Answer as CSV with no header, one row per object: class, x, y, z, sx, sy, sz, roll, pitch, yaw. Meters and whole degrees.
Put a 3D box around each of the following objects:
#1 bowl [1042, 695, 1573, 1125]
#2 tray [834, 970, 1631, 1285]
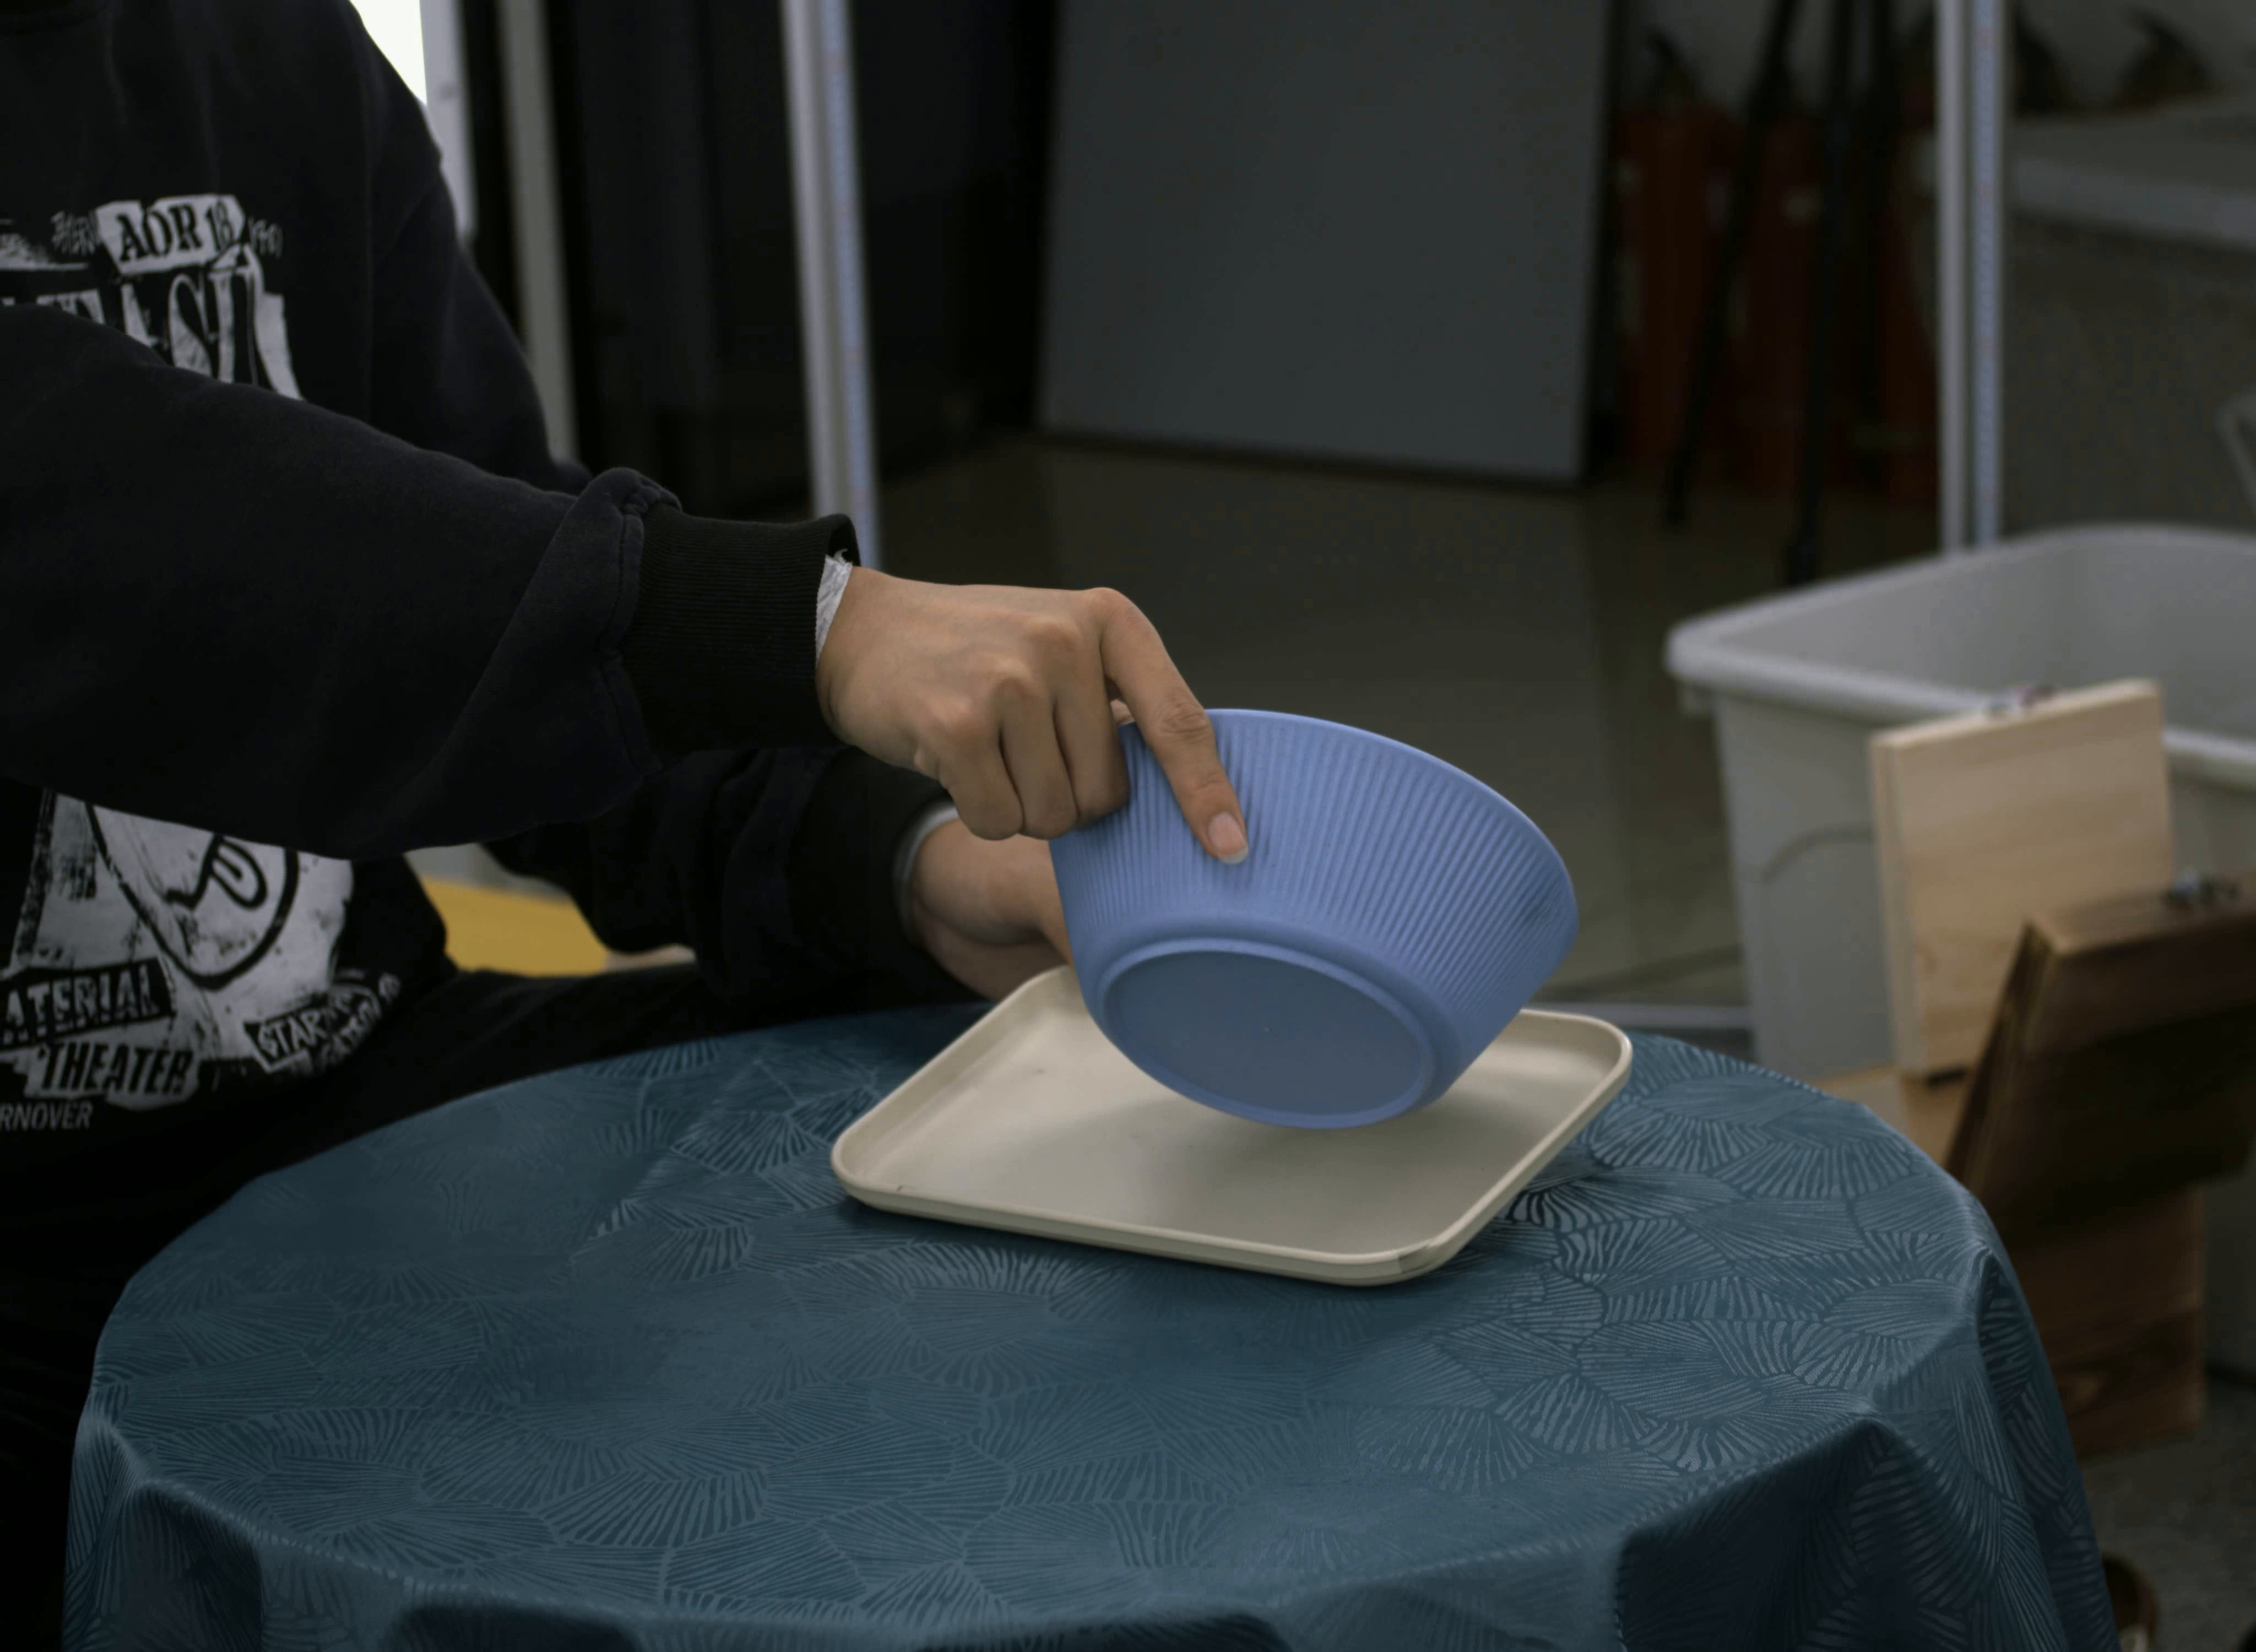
bowl,0.050,0.036,1.701,0.176,0.175,0.070,2,56,22
tray,0.035,0.097,1.766,0.241,0.017,0.169,5,27,34
